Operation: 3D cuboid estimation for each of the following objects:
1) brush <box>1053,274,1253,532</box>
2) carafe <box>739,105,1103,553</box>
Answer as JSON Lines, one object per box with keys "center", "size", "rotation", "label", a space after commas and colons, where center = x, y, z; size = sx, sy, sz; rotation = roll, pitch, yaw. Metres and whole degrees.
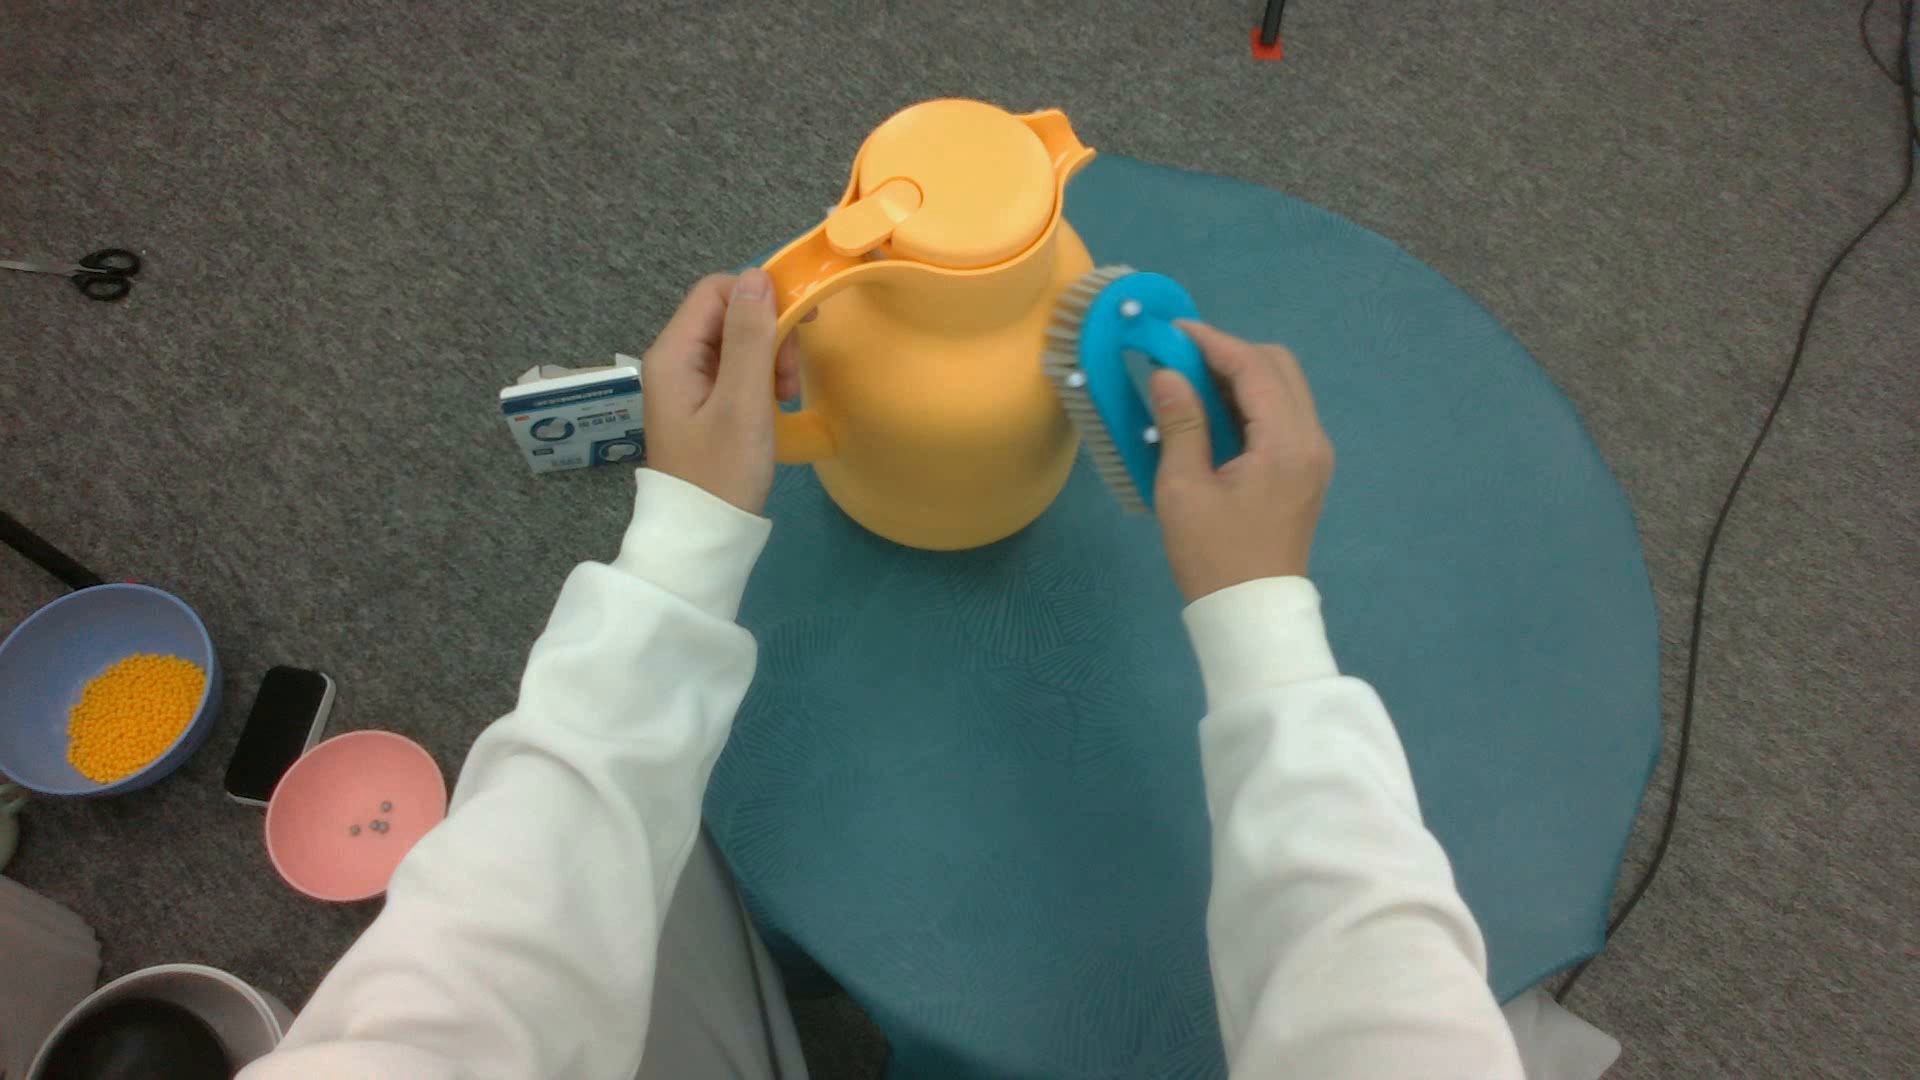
{"center": [0.108, -0.068, 0.683], "size": [0.084, 0.141, 0.063], "rotation": [-43, 30, -24], "label": "brush"}
{"center": [-0.020, -0.103, 0.732], "size": [0.203, 0.259, 0.163], "rotation": [-29, 67, -16], "label": "carafe"}
